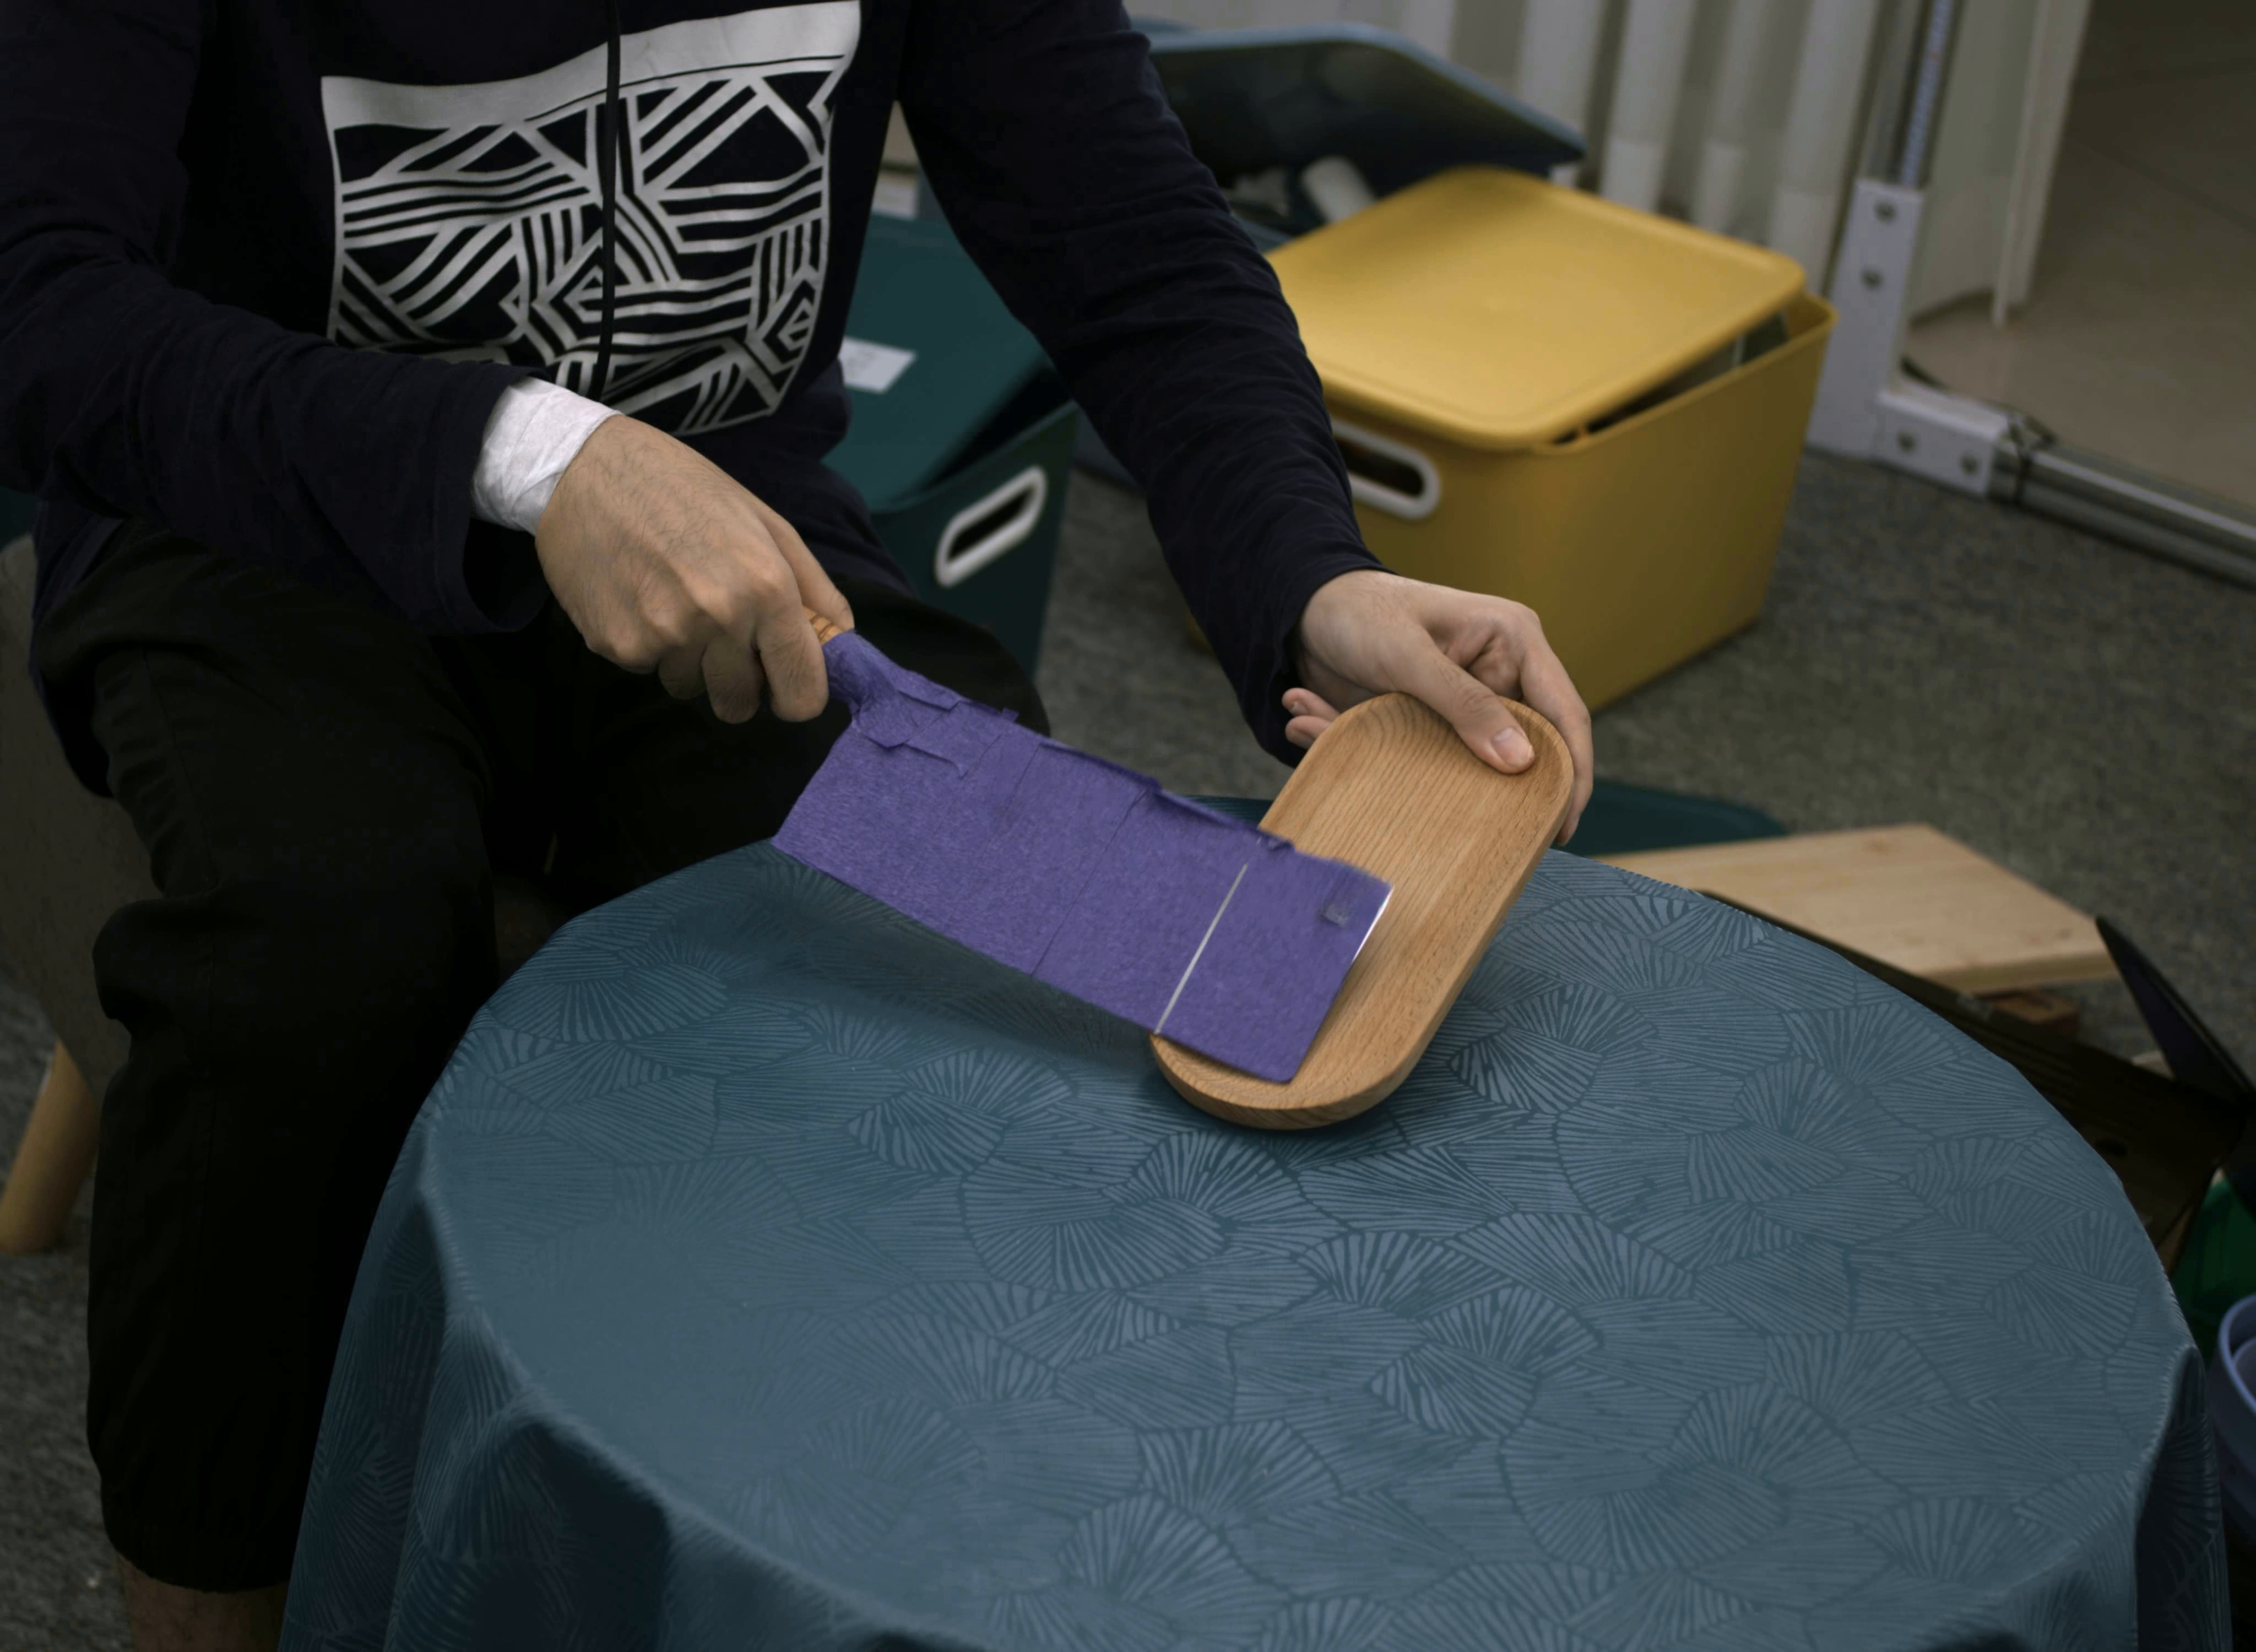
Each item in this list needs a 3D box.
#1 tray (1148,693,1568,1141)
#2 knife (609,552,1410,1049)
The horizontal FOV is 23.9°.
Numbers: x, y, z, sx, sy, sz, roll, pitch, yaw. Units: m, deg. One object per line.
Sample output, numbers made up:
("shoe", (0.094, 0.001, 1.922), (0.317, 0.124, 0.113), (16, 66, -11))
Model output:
("tray", (0.085, 0.031, 1.918), (0.102, 0.020, 0.232), (12, 47, 22))
("knife", (-0.059, -0.009, 1.913), (0.316, 0.032, 0.104), (22, 61, 15))
